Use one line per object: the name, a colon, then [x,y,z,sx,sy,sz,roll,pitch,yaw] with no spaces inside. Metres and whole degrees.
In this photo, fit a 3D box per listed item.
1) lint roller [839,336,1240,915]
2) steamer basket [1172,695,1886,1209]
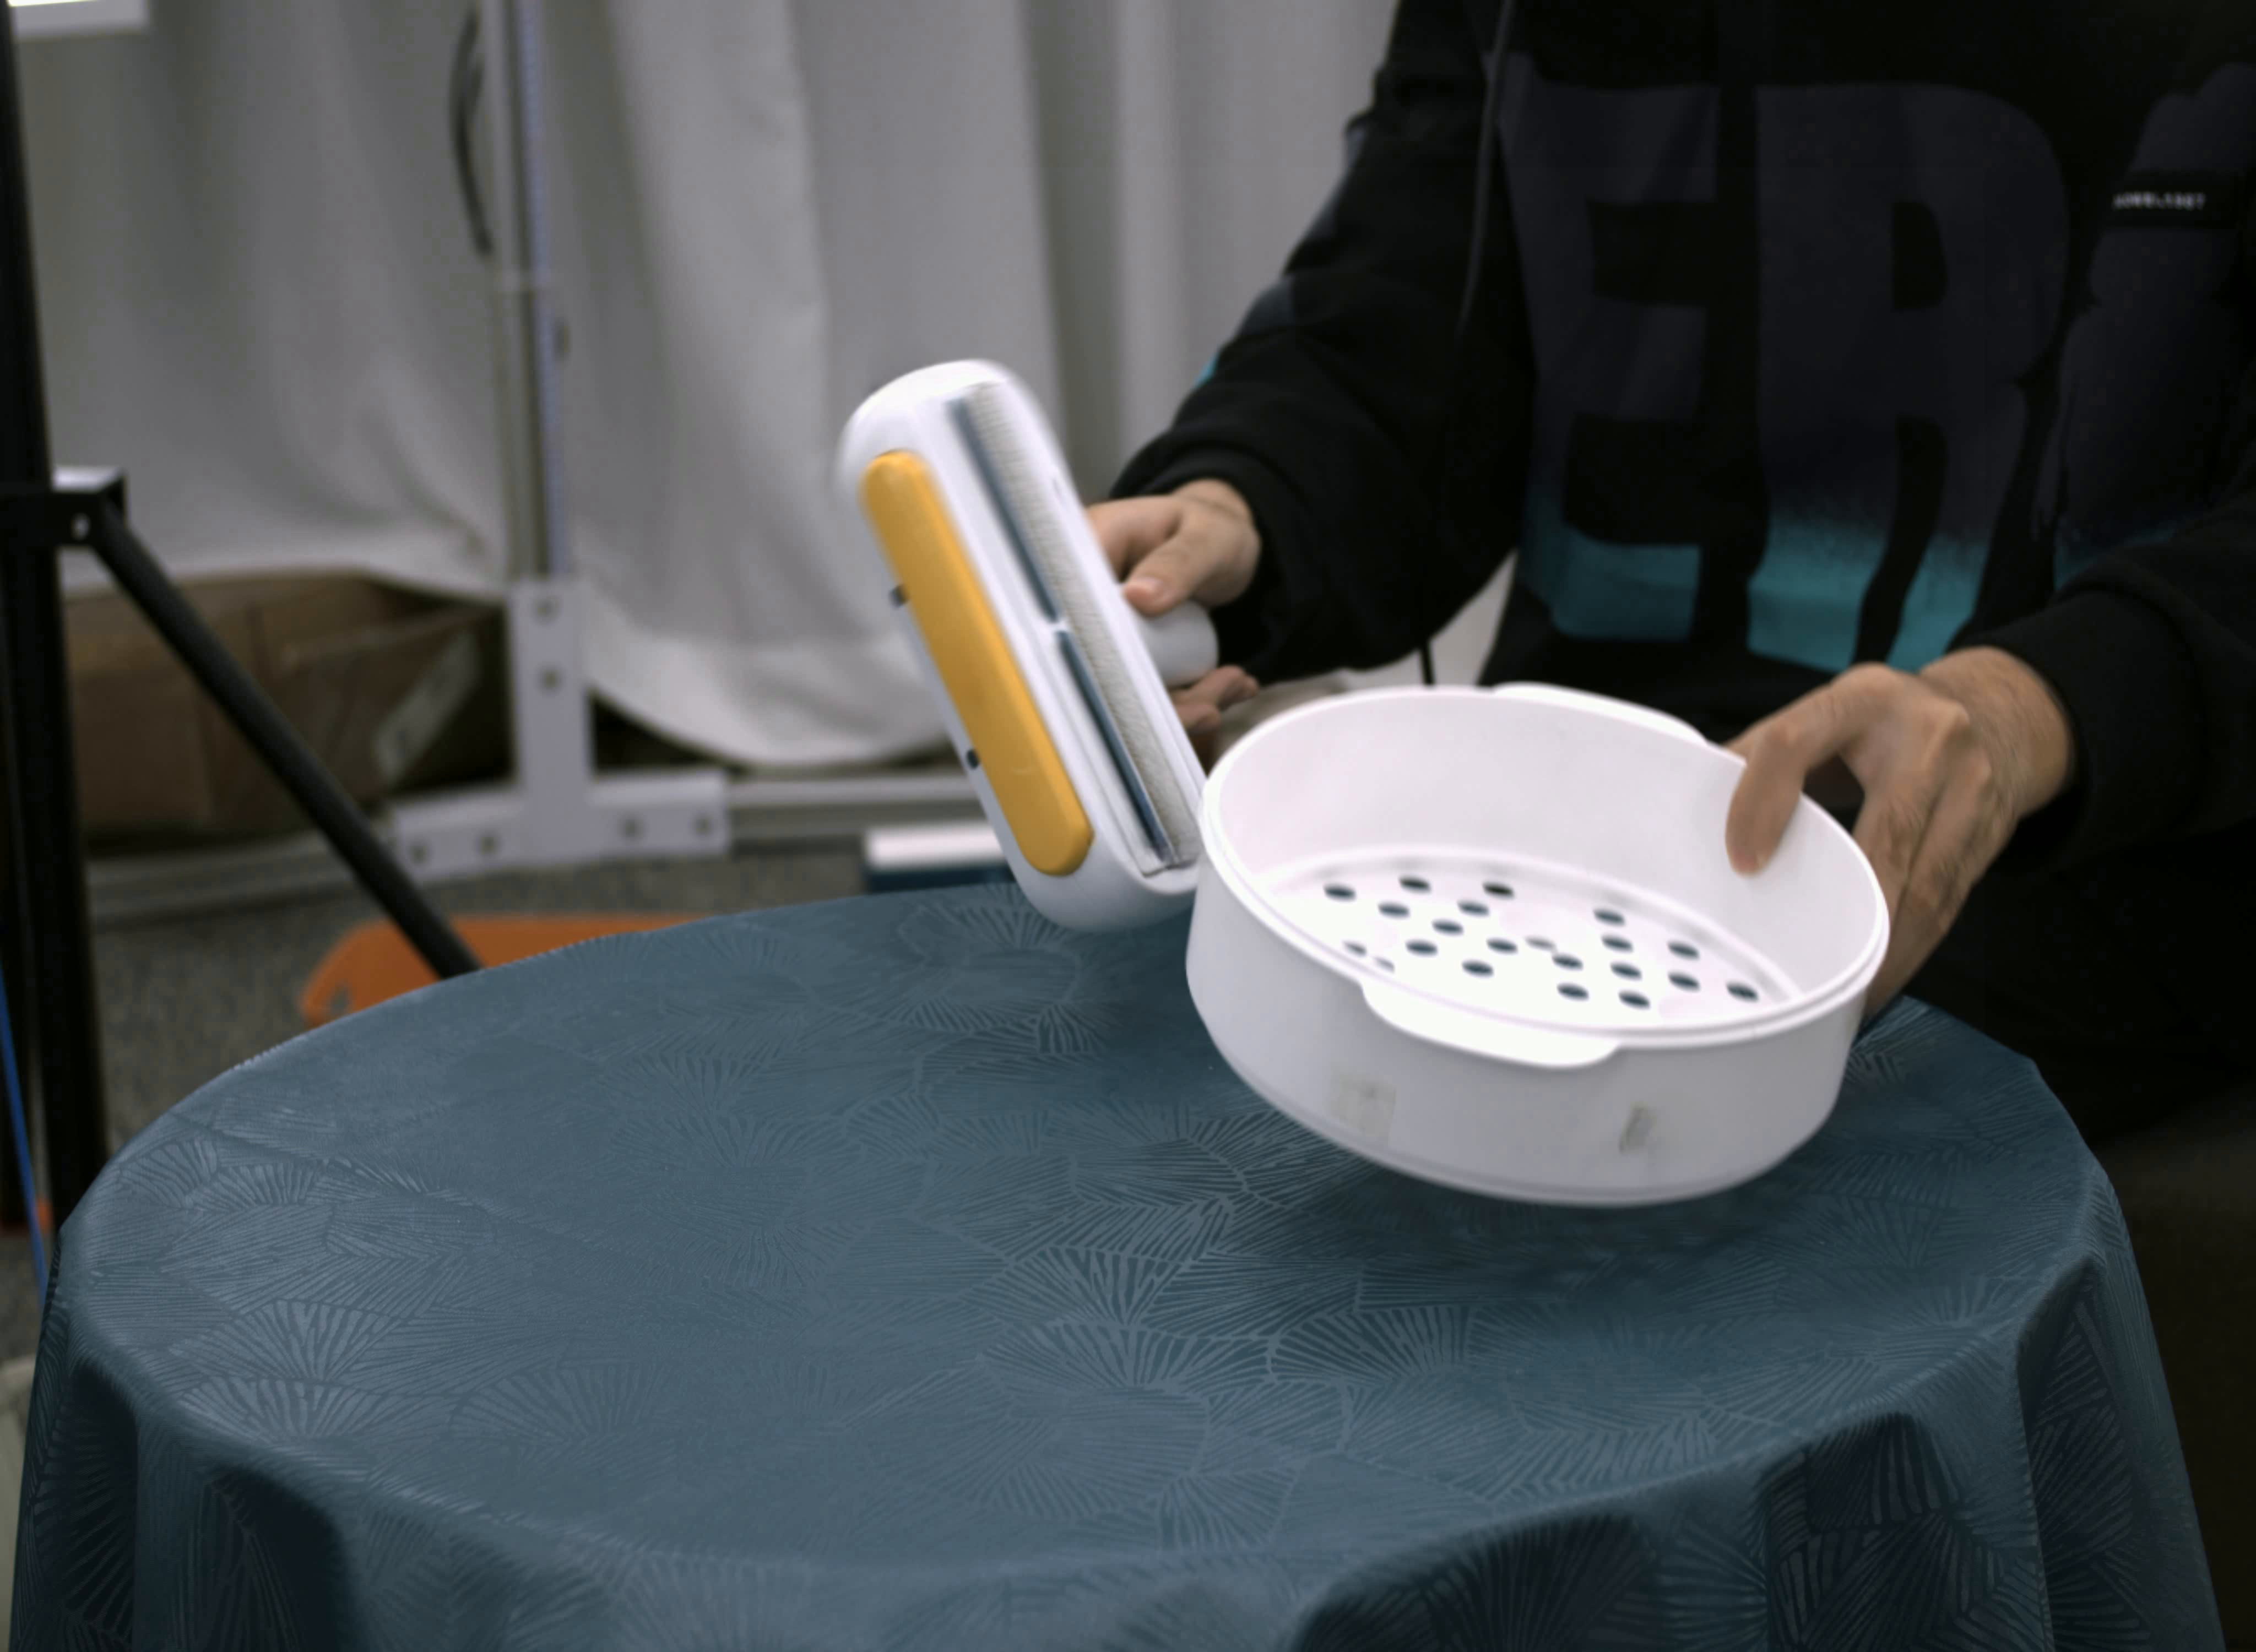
lint roller: [-0.007,-0.065,1.758,0.075,0.195,0.188,-31,-13,31]
steamer basket: [0.113,0.036,1.524,0.202,0.069,0.229,15,26,8]
